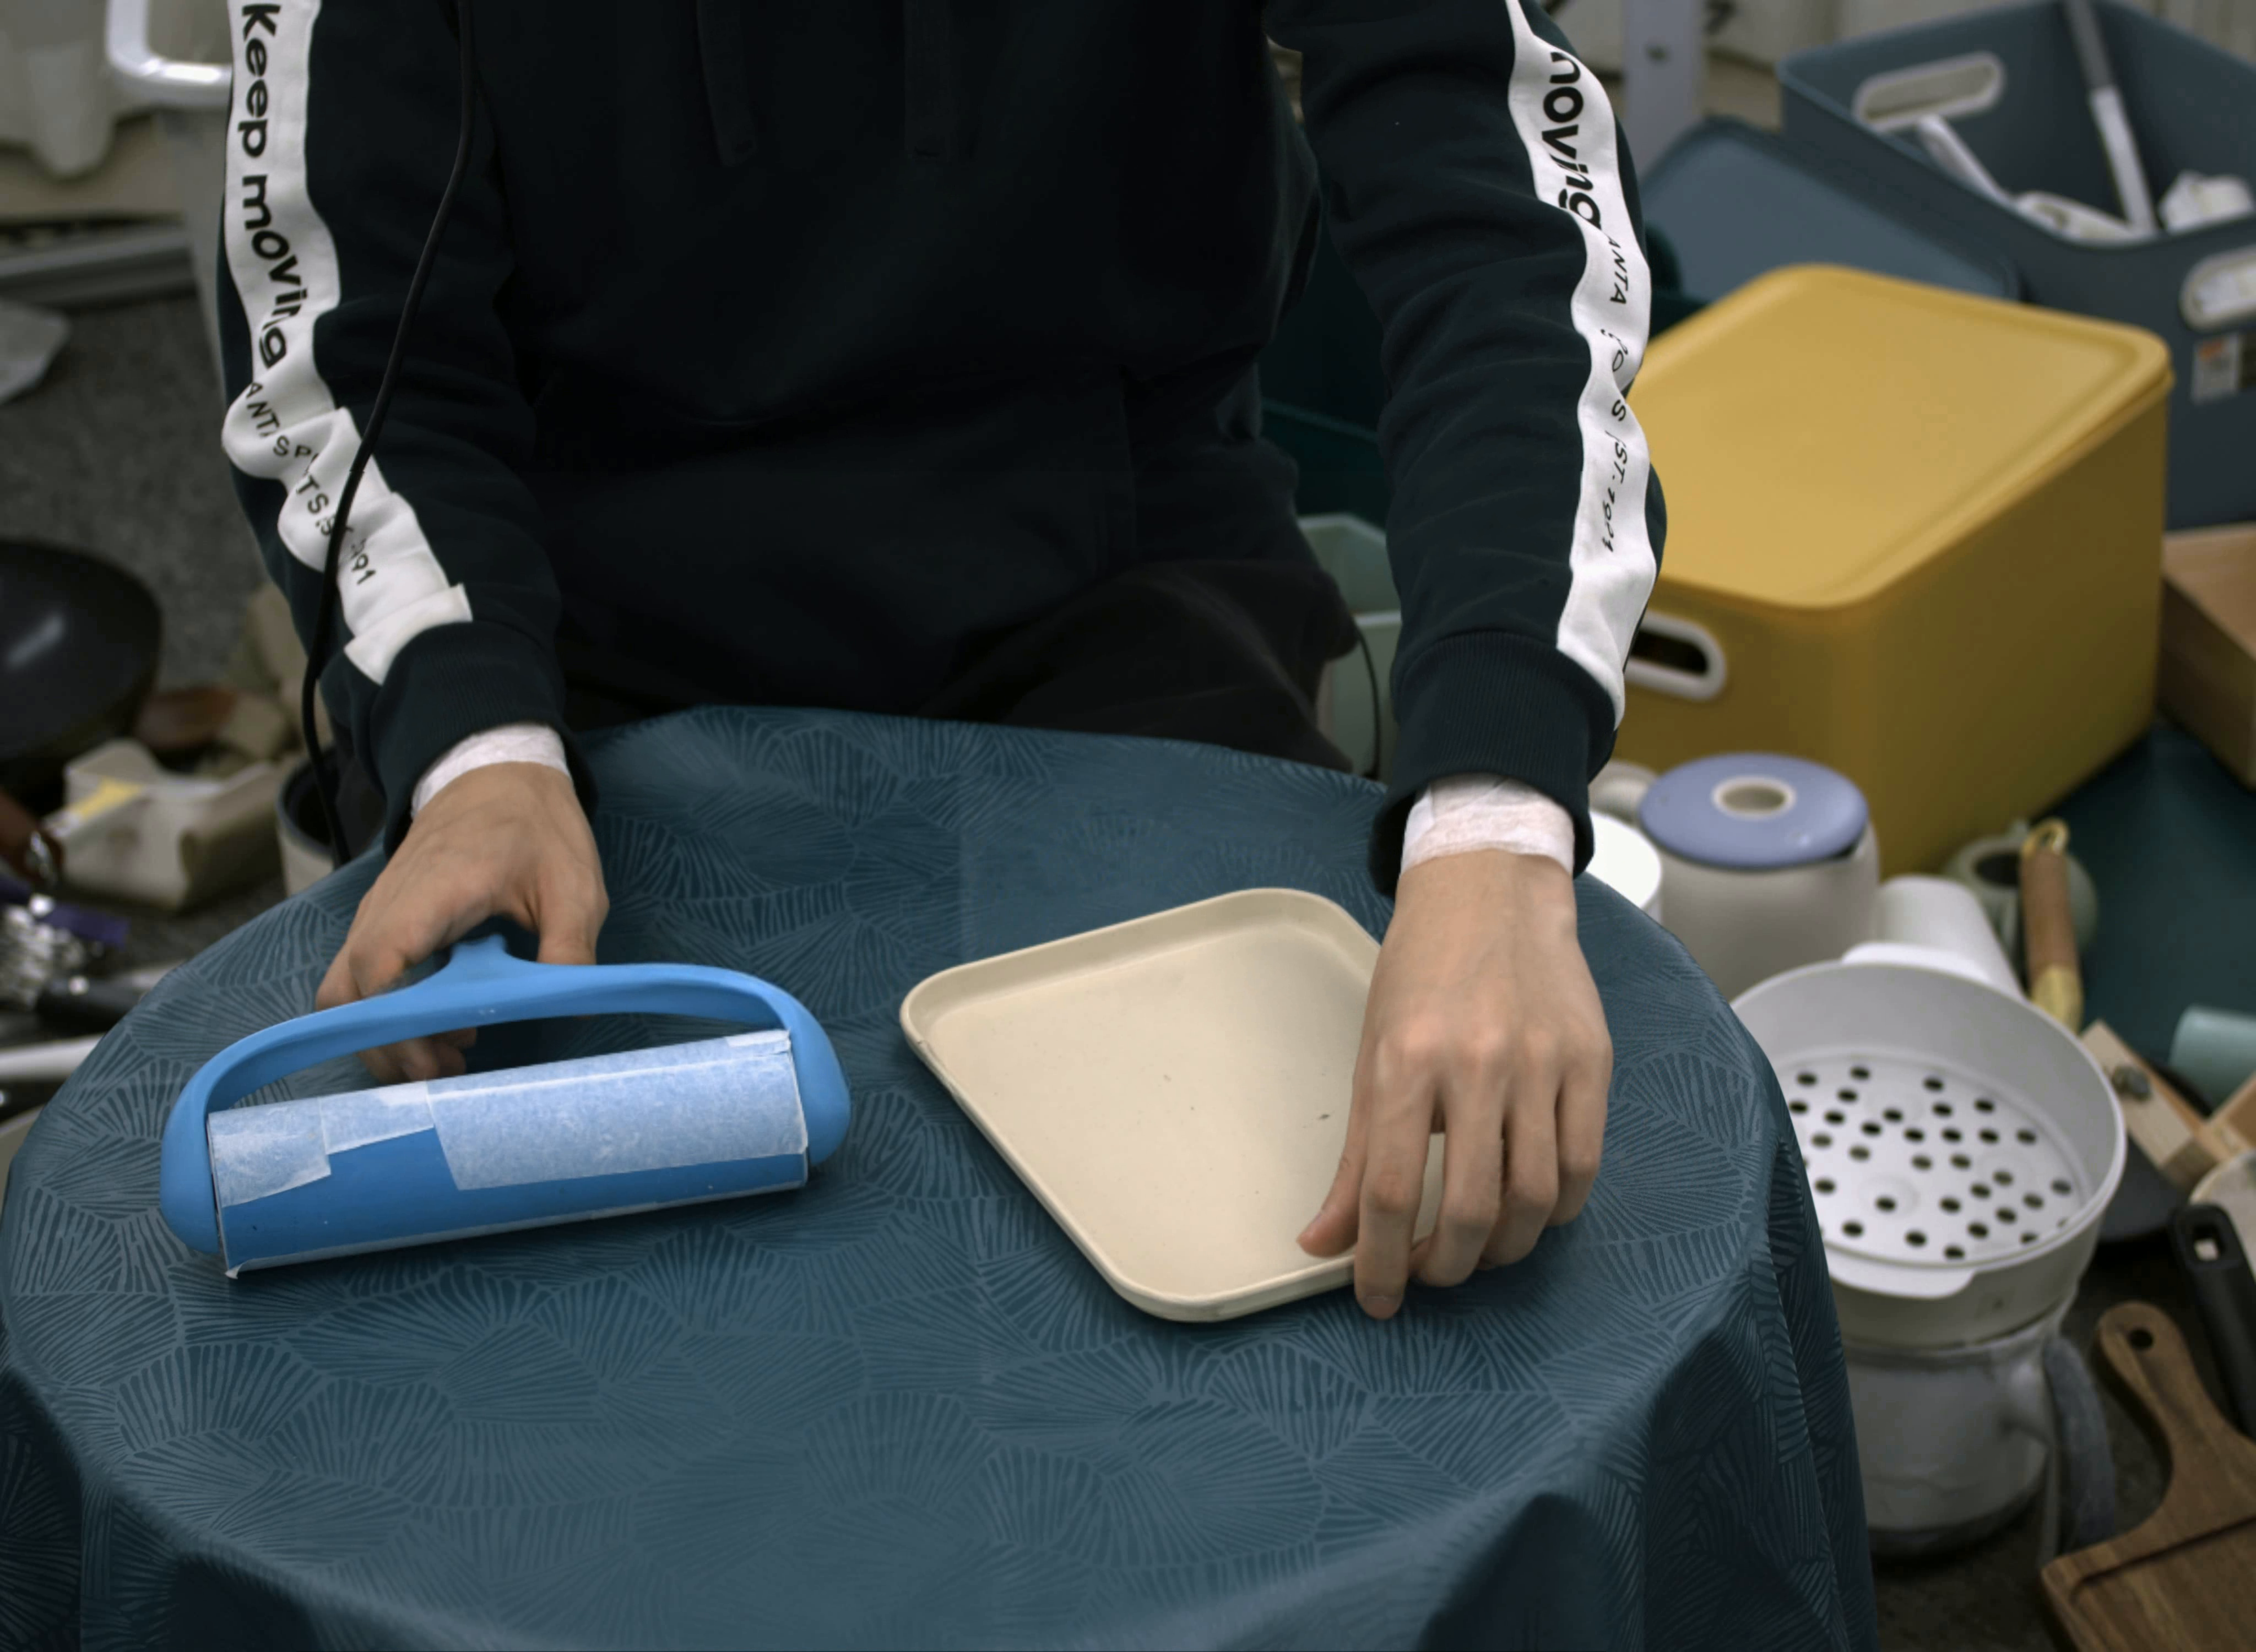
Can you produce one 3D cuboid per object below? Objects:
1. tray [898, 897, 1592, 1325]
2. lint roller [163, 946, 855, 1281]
[{"bbox_3d":[0.036,0.094,1.891,0.172,0.017,0.241,-13,29,-20],"label":"tray"},{"bbox_3d":[-0.217,0.078,1.898,0.229,0.067,0.182,-10,32,-11],"label":"lint roller"}]
